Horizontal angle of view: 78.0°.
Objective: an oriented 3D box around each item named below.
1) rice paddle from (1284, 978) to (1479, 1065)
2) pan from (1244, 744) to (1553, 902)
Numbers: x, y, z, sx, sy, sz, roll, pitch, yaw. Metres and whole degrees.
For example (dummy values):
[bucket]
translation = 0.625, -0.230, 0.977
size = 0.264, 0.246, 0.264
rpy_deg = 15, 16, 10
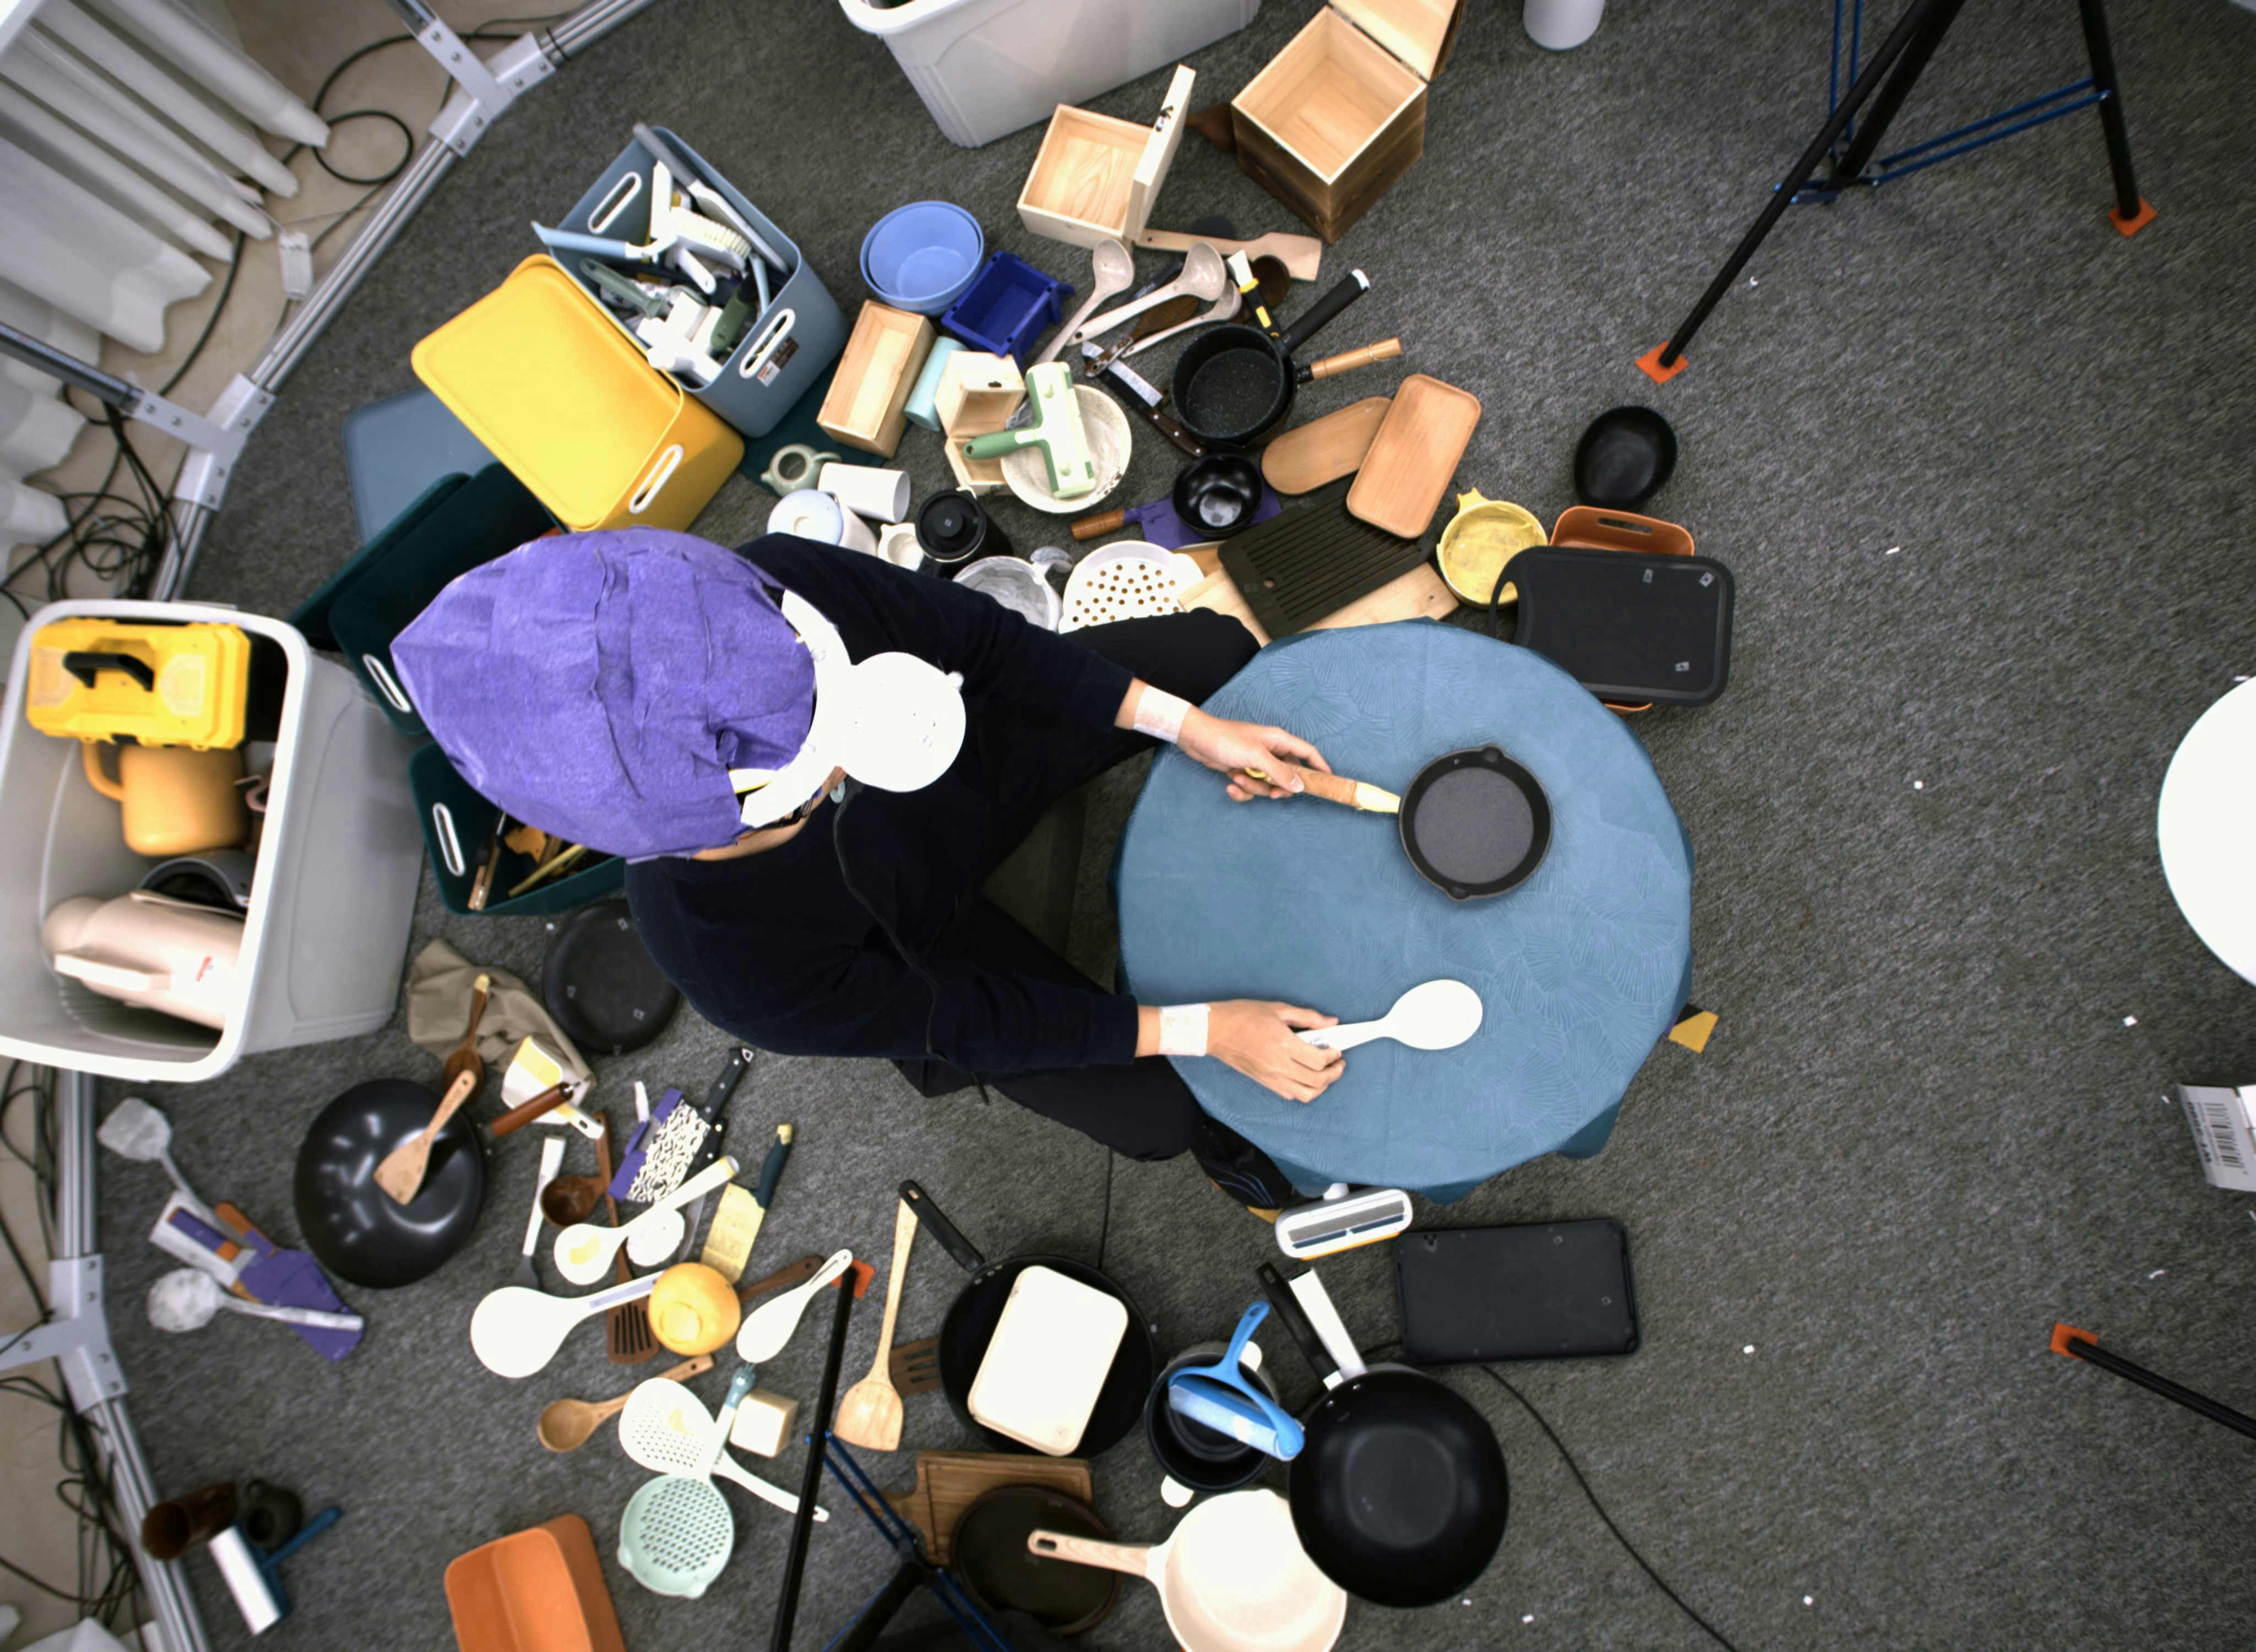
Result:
[rice paddle]
translation = 0.264, 0.207, 1.439
size = 0.206, 0.029, 0.068
rpy_deg = -16, 86, 10
[pan]
translation = 0.279, -0.027, 1.438
size = 0.324, 0.049, 0.169
rpy_deg = 16, 90, 10
